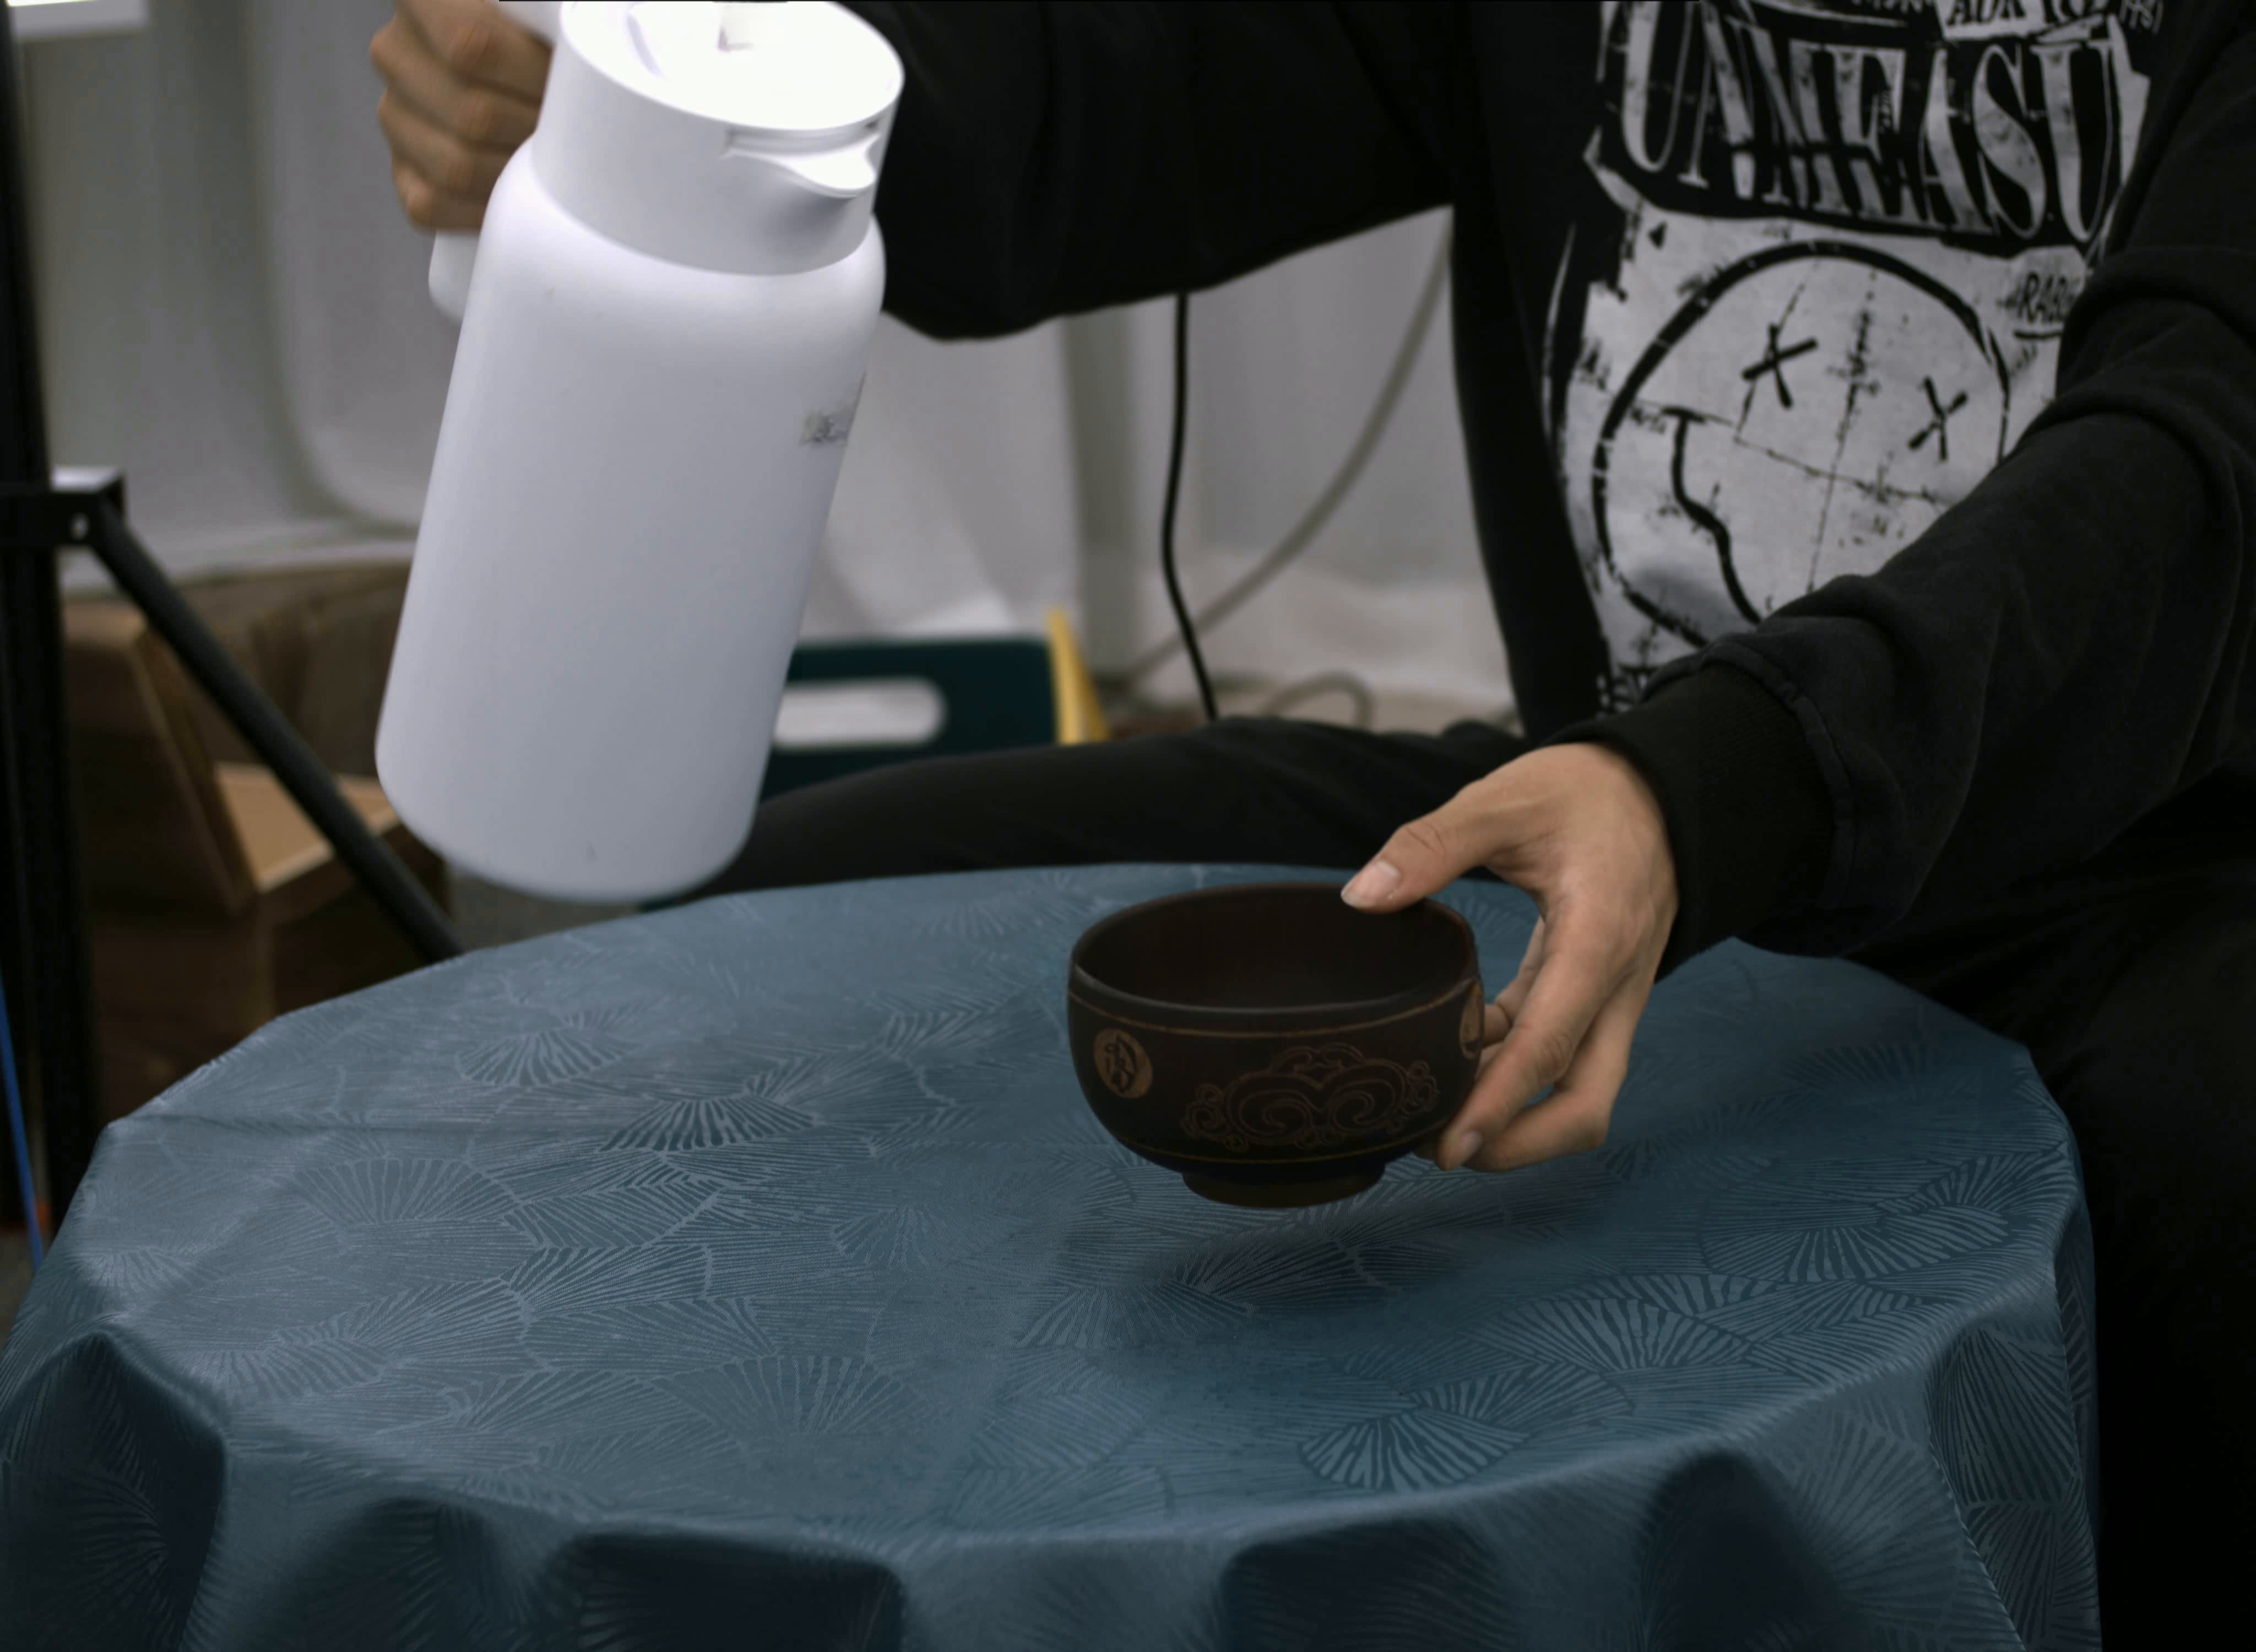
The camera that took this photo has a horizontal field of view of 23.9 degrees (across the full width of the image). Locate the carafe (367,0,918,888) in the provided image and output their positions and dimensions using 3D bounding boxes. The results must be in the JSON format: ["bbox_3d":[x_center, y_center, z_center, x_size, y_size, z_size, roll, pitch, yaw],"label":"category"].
[{"bbox_3d":[-0.153,-0.128,1.579,0.121,0.269,0.176,-13,43,-36],"label":"carafe"}]

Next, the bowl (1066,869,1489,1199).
[{"bbox_3d":[0.043,0.062,1.481,0.117,0.070,0.118,-4,17,0],"label":"bowl"}]
